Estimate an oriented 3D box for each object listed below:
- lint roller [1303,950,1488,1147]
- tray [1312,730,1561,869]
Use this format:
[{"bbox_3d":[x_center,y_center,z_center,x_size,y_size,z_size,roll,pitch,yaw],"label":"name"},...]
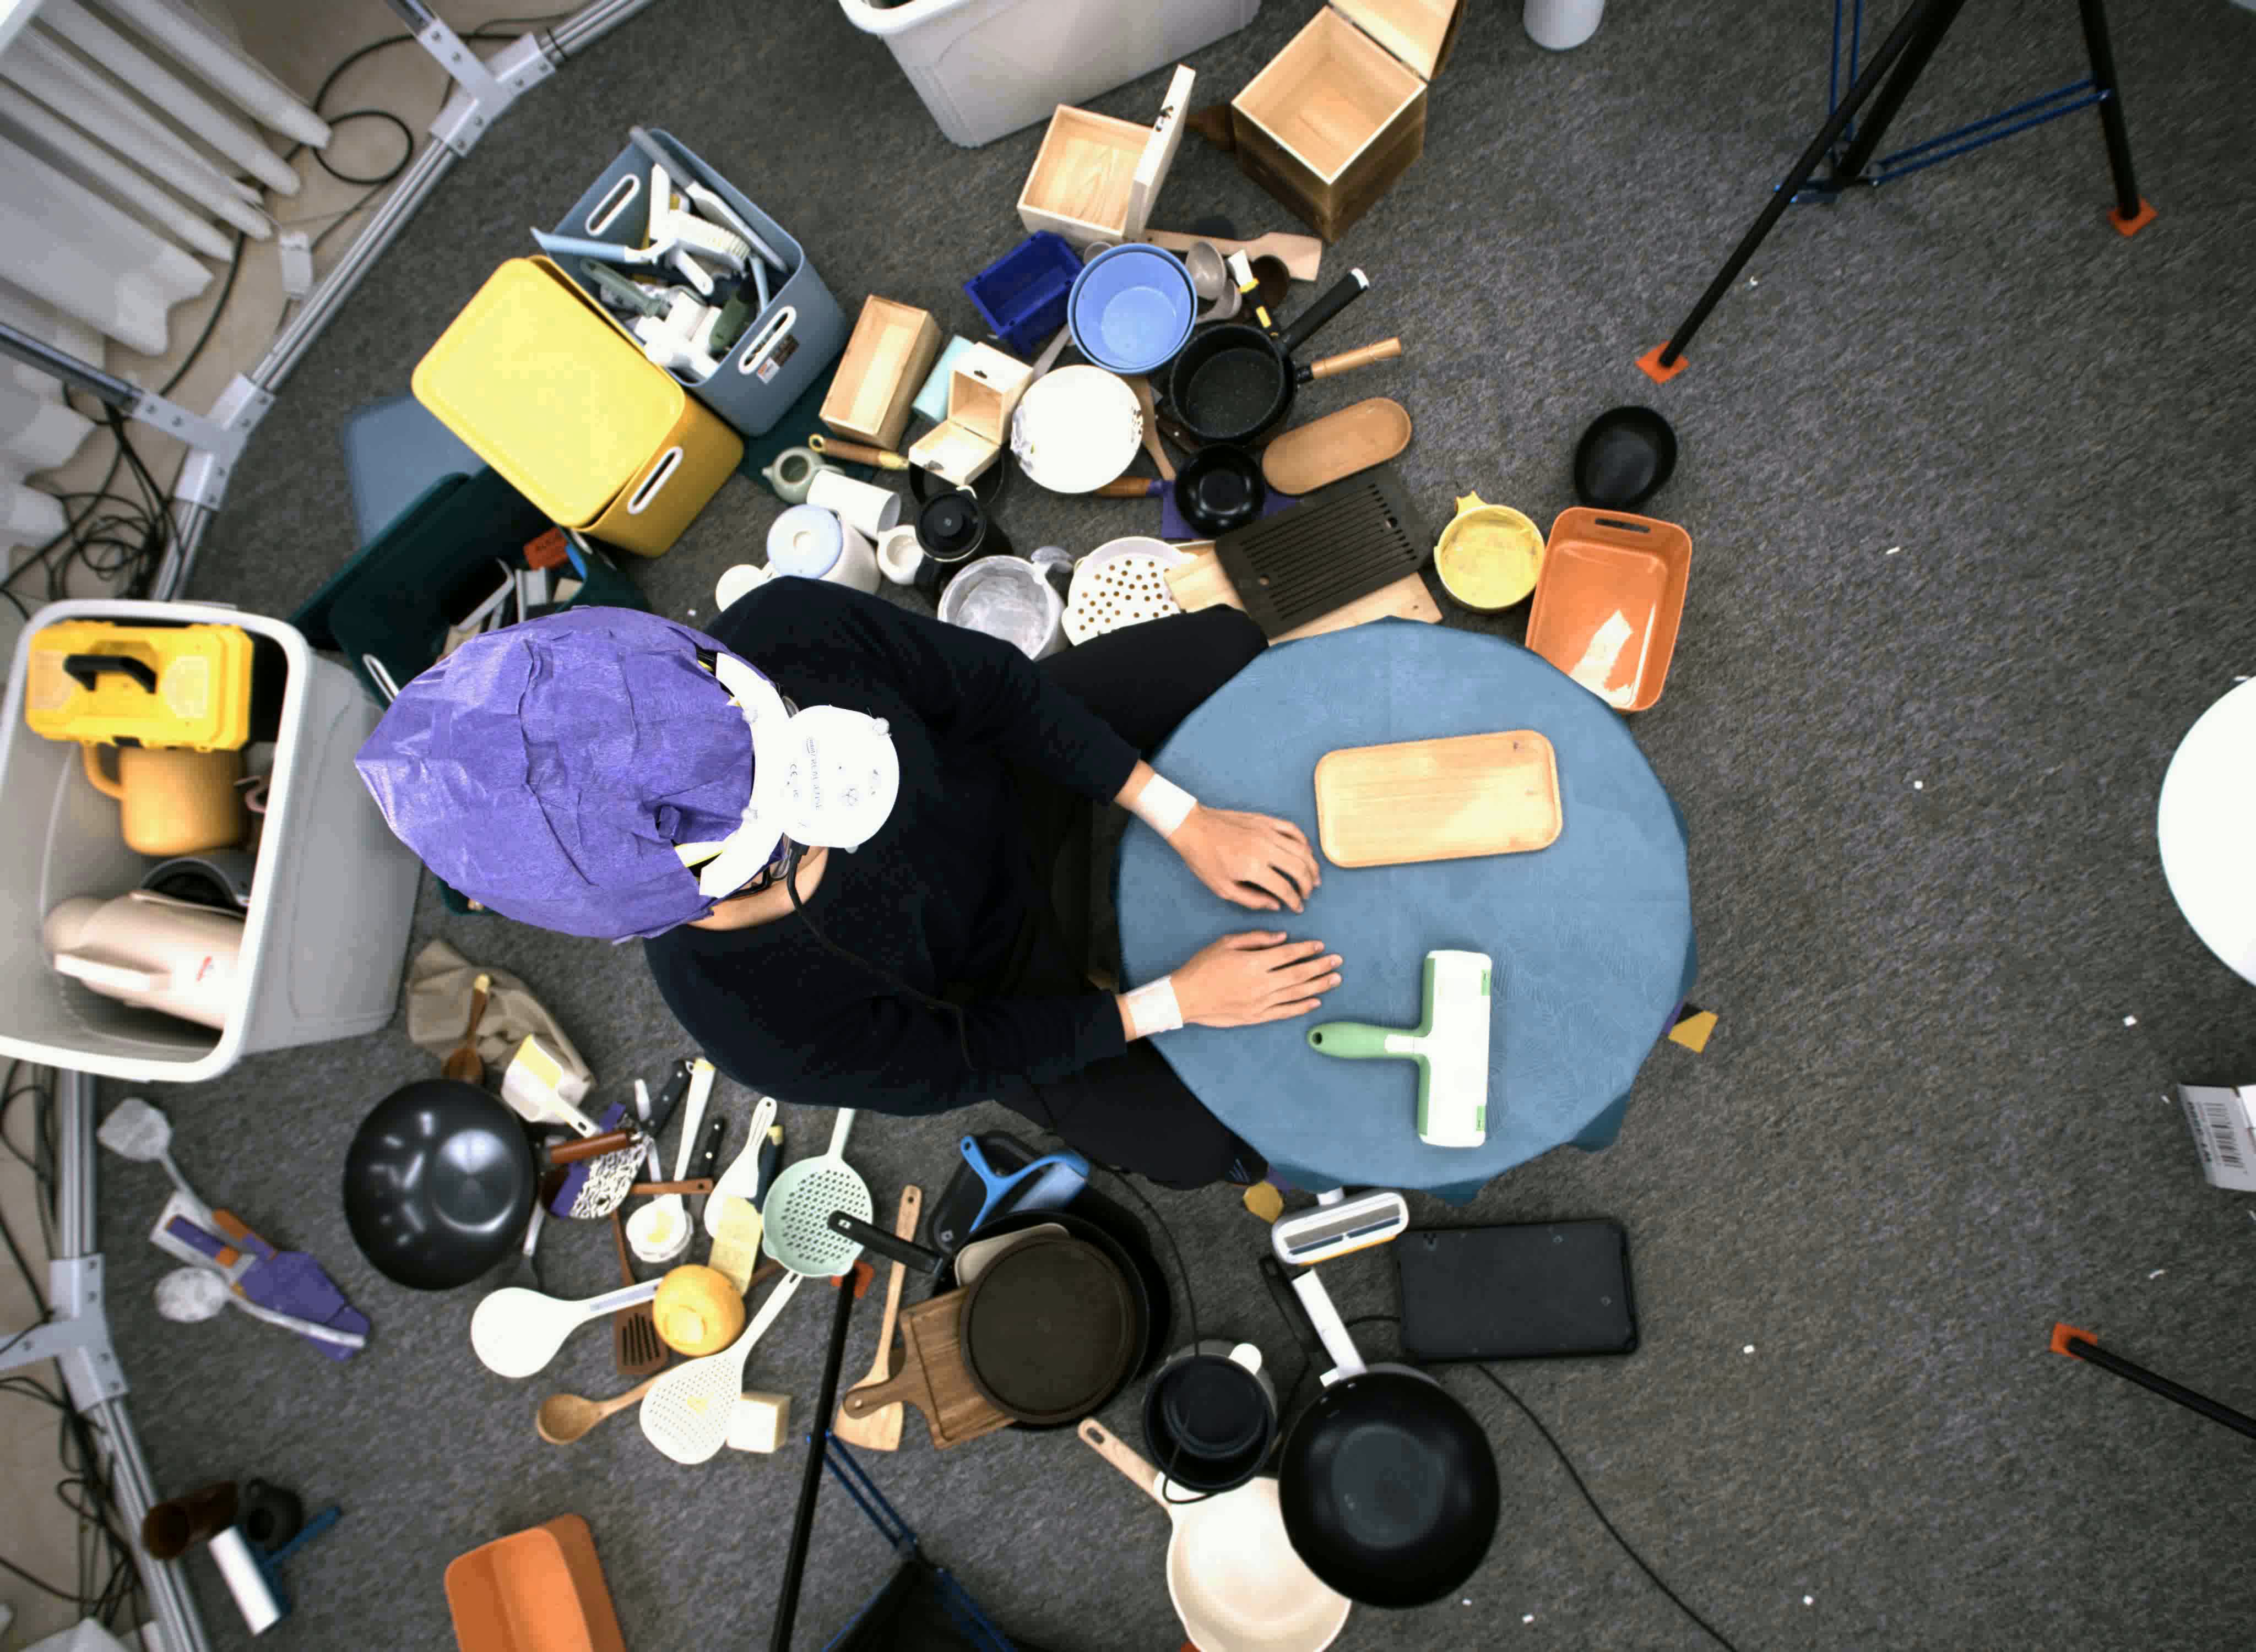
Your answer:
[{"bbox_3d":[0.272,0.221,1.407,0.184,0.082,0.197,3,86,4],"label":"lint roller"},{"bbox_3d":[0.323,-0.029,1.447,0.252,0.023,0.129,-6,84,11],"label":"tray"}]
